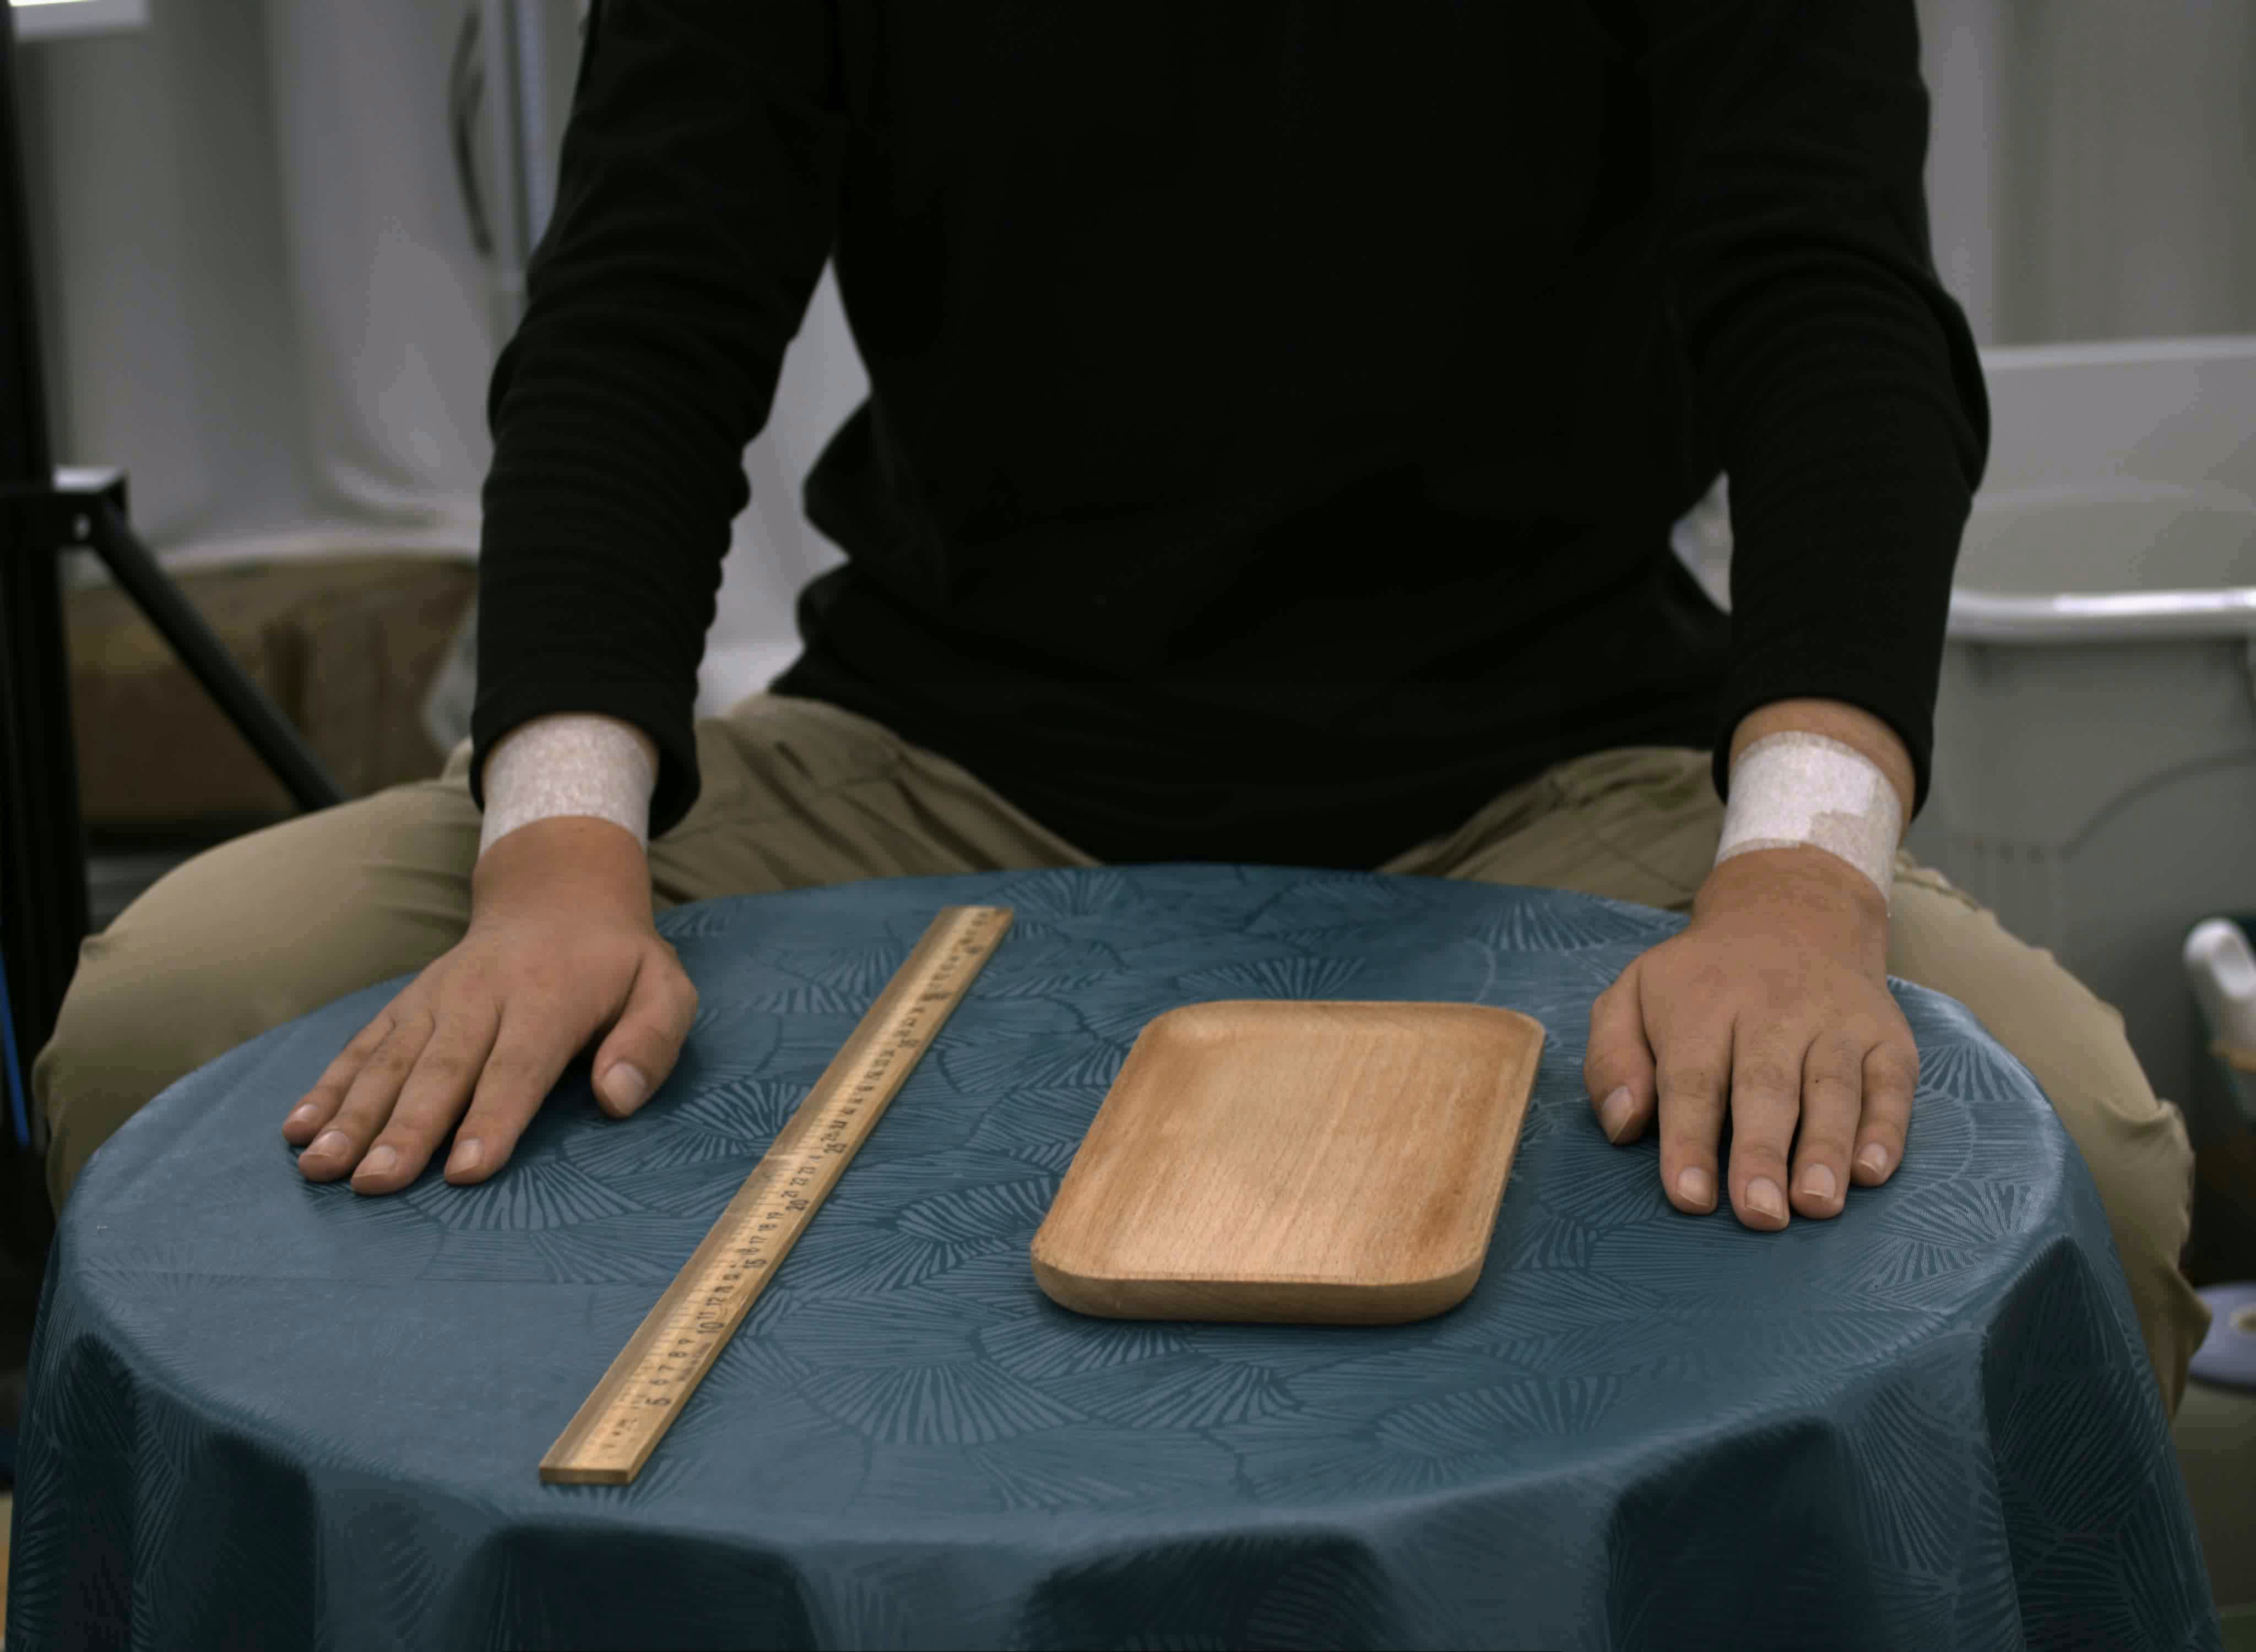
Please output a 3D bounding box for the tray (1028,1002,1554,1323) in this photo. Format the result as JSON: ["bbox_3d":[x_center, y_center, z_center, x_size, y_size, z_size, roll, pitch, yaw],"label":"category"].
[{"bbox_3d":[0.052,0.096,1.560,0.131,0.023,0.249,3,15,11],"label":"tray"}]

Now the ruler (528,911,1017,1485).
[{"bbox_3d":[-0.095,0.099,1.596,0.027,0.006,0.498,3,16,10],"label":"ruler"}]
